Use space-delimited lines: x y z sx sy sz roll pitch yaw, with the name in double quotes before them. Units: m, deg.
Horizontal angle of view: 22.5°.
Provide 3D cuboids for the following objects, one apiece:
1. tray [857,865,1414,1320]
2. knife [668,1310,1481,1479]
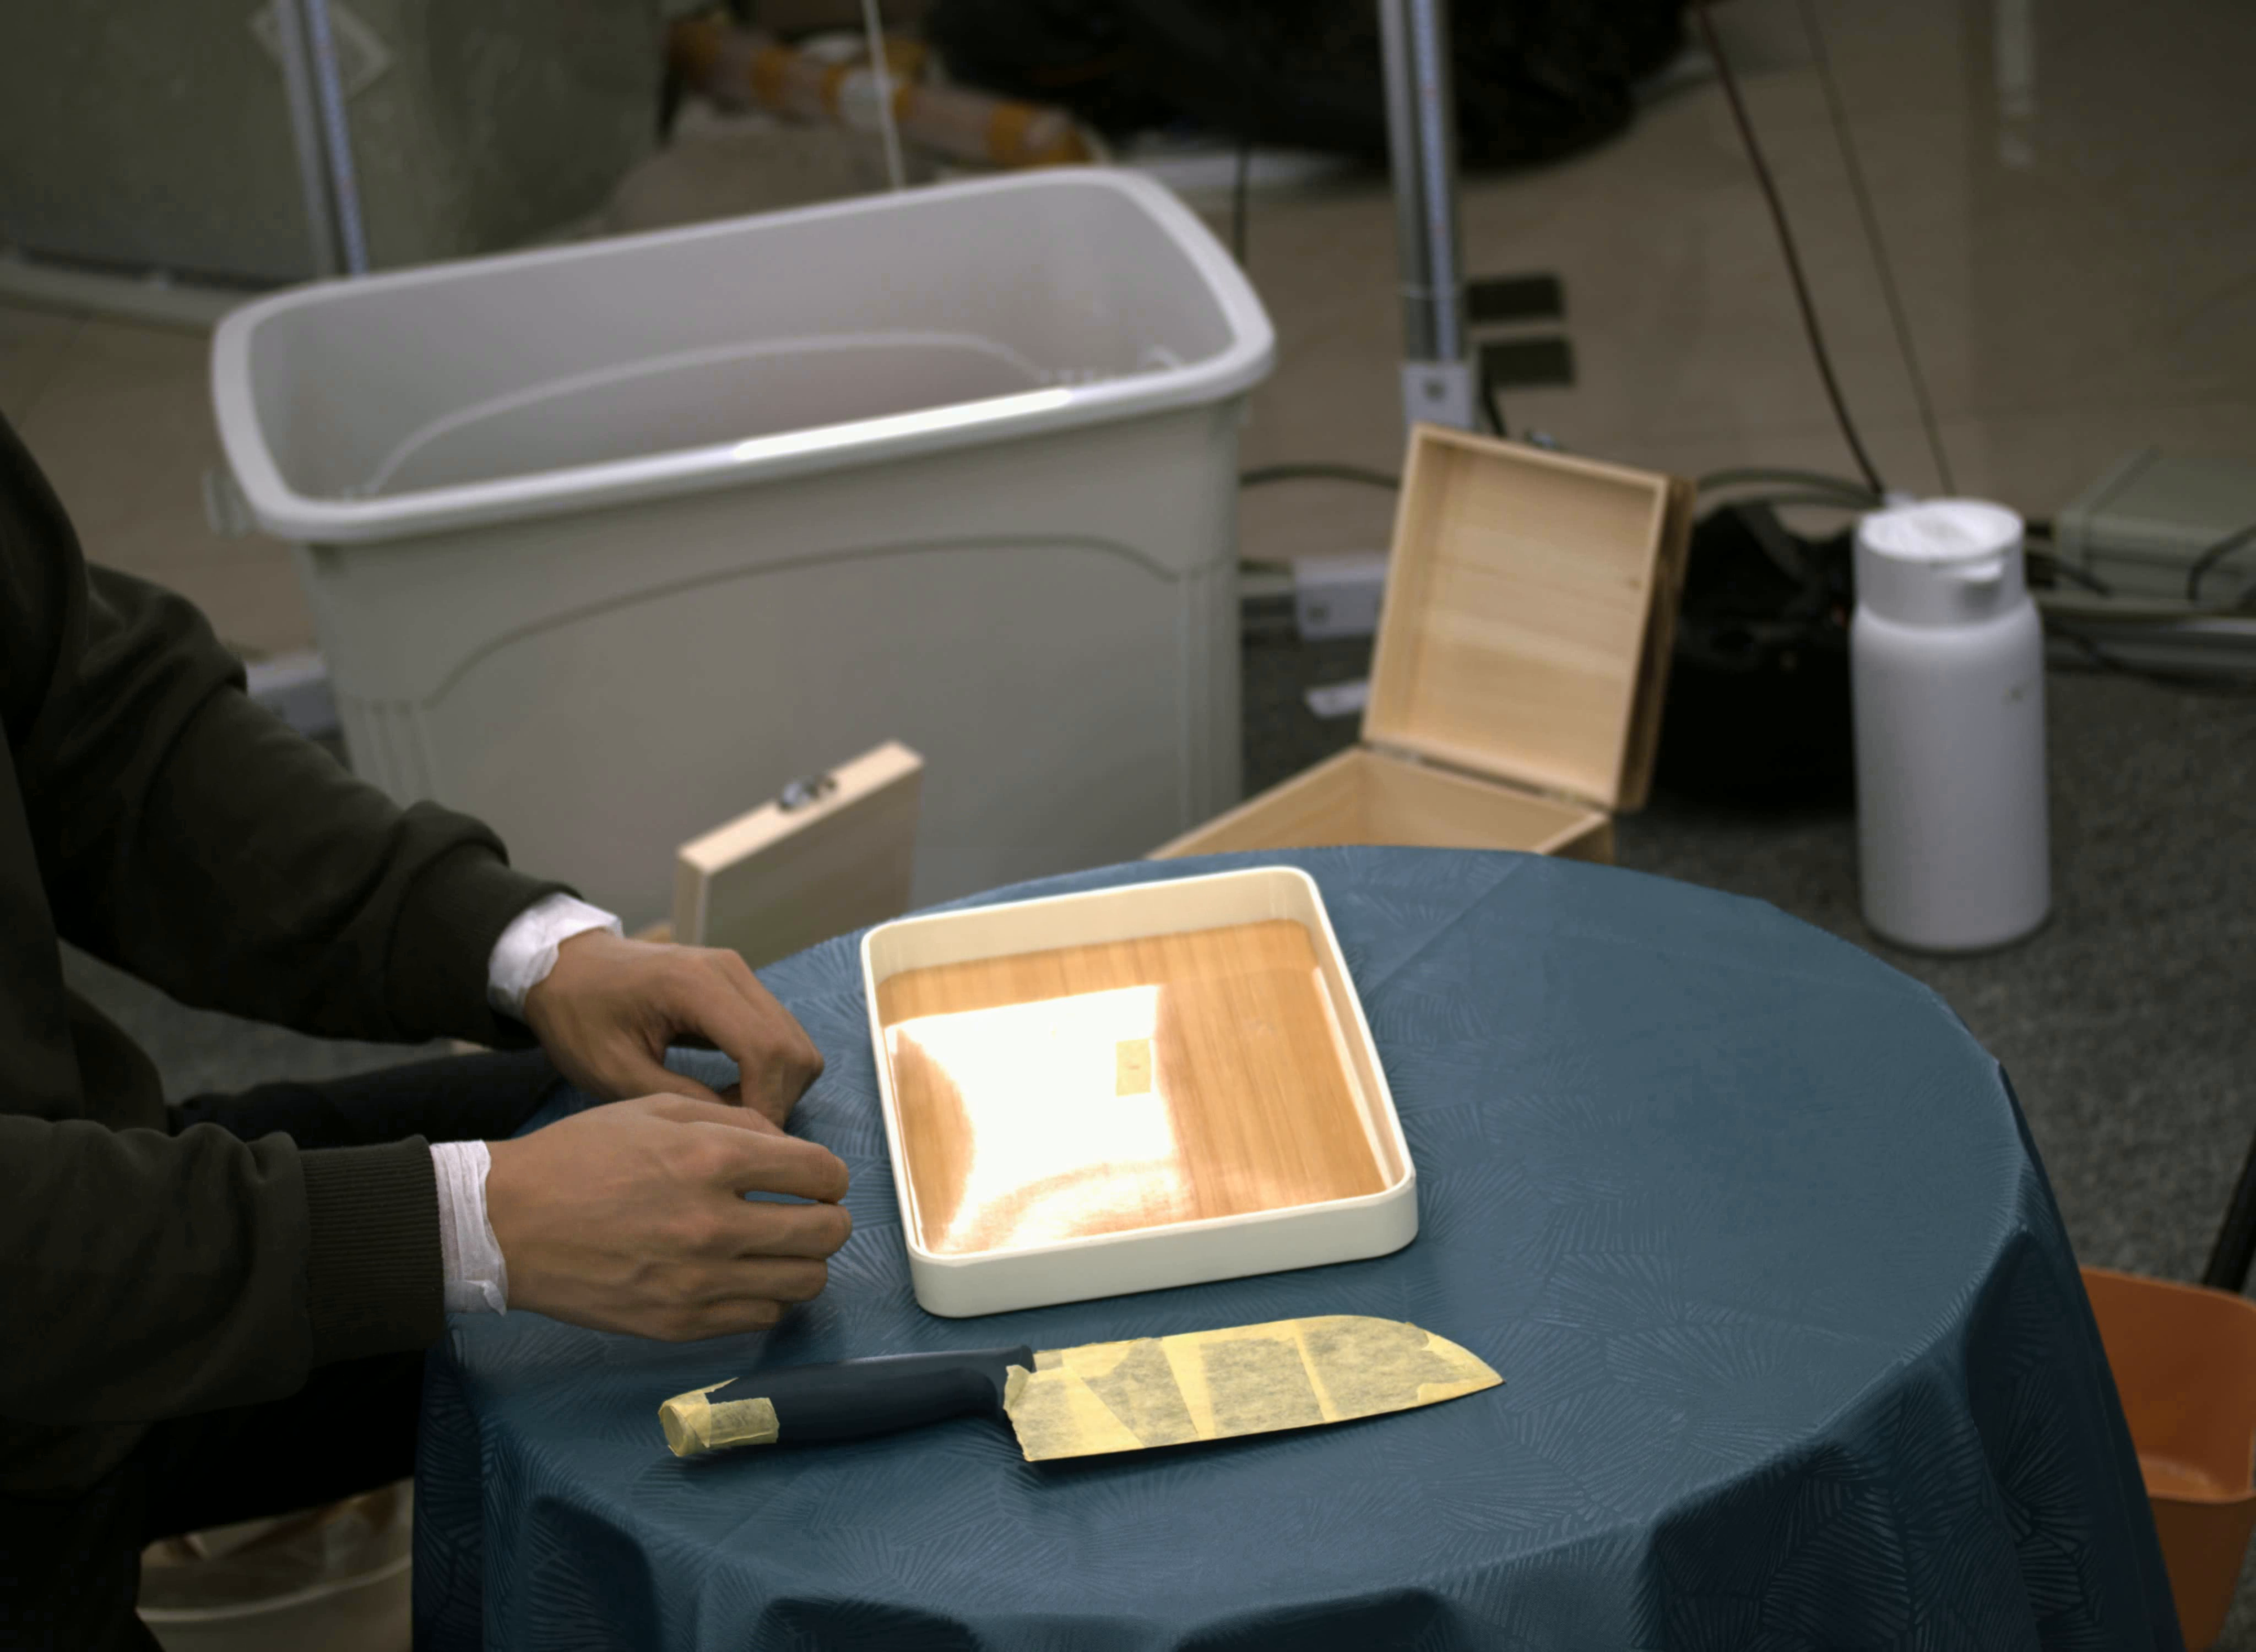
"tray" -0.002 0.099 2.207 0.191 0.028 0.296 -9 24 -3
"knife" -0.018 0.203 2.000 0.289 0.027 0.080 -7 23 -4
